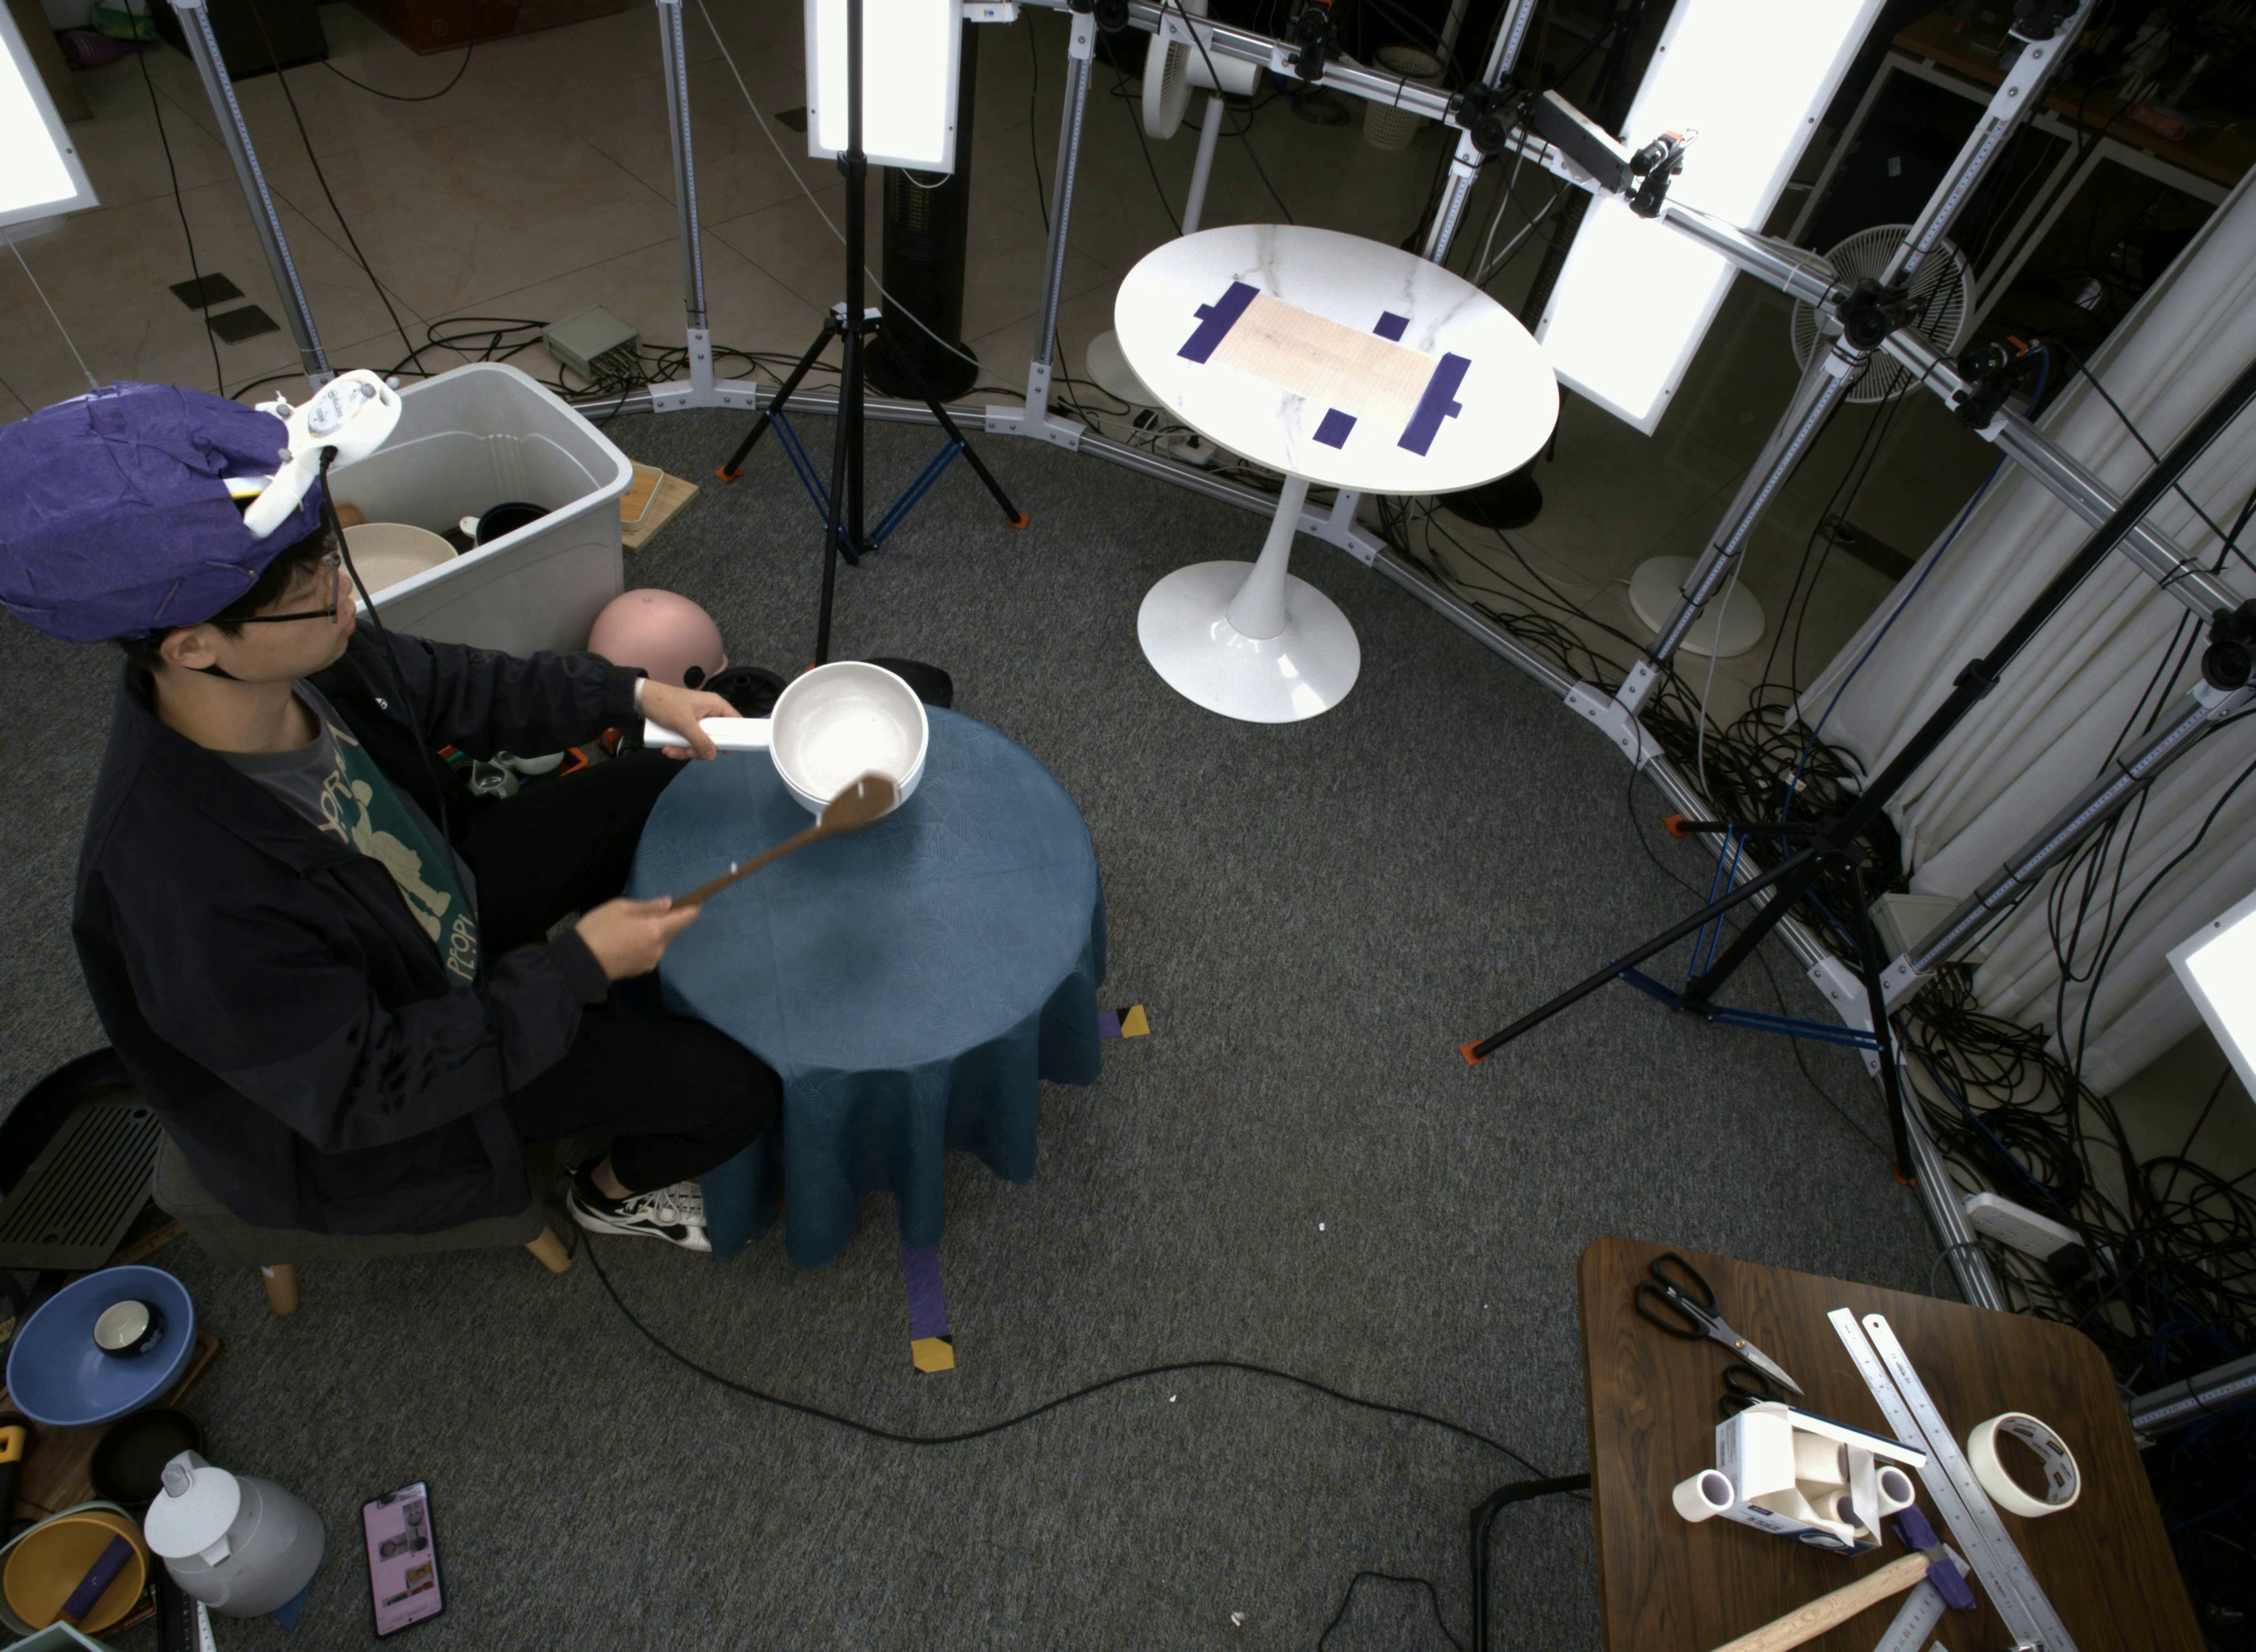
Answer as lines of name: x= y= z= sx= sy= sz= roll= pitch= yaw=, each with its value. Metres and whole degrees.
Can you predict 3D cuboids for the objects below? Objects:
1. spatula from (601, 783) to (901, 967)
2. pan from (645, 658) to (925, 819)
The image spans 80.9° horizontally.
spatula: x=-0.432 y=0.054 z=1.477 sx=0.386 sy=0.016 sz=0.092 roll=-31 pitch=41 yaw=-24
pan: x=-0.438 y=-0.107 z=1.677 sx=0.353 sy=0.103 sz=0.200 roll=1 pitch=72 yaw=-9
